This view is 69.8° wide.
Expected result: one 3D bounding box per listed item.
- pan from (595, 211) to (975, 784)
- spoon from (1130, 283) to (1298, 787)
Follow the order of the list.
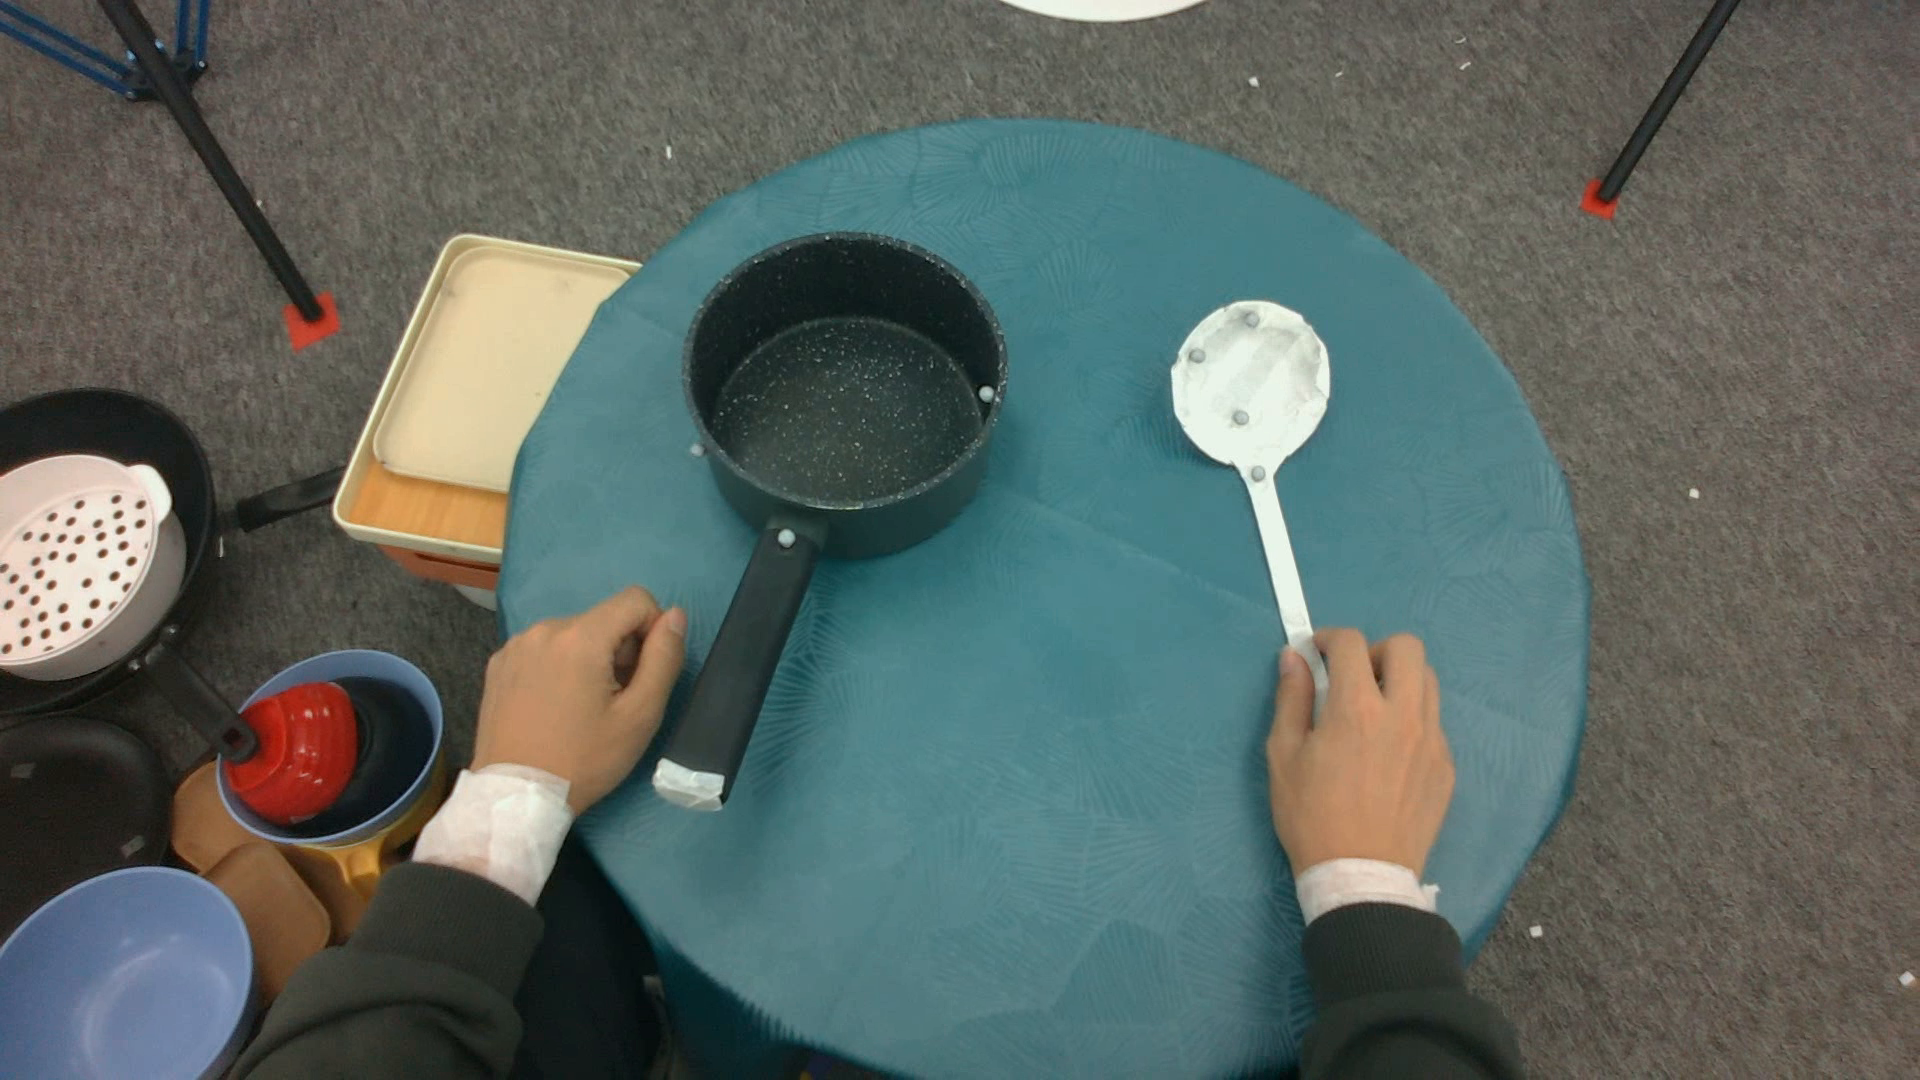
[{"bbox_3d":[-0.101,-0.021,0.715,0.172,0.086,0.330,16,63,5],"label":"pan"},{"bbox_3d":[0.153,-0.008,0.747,0.101,0.059,0.278,-3,65,-5],"label":"spoon"}]
